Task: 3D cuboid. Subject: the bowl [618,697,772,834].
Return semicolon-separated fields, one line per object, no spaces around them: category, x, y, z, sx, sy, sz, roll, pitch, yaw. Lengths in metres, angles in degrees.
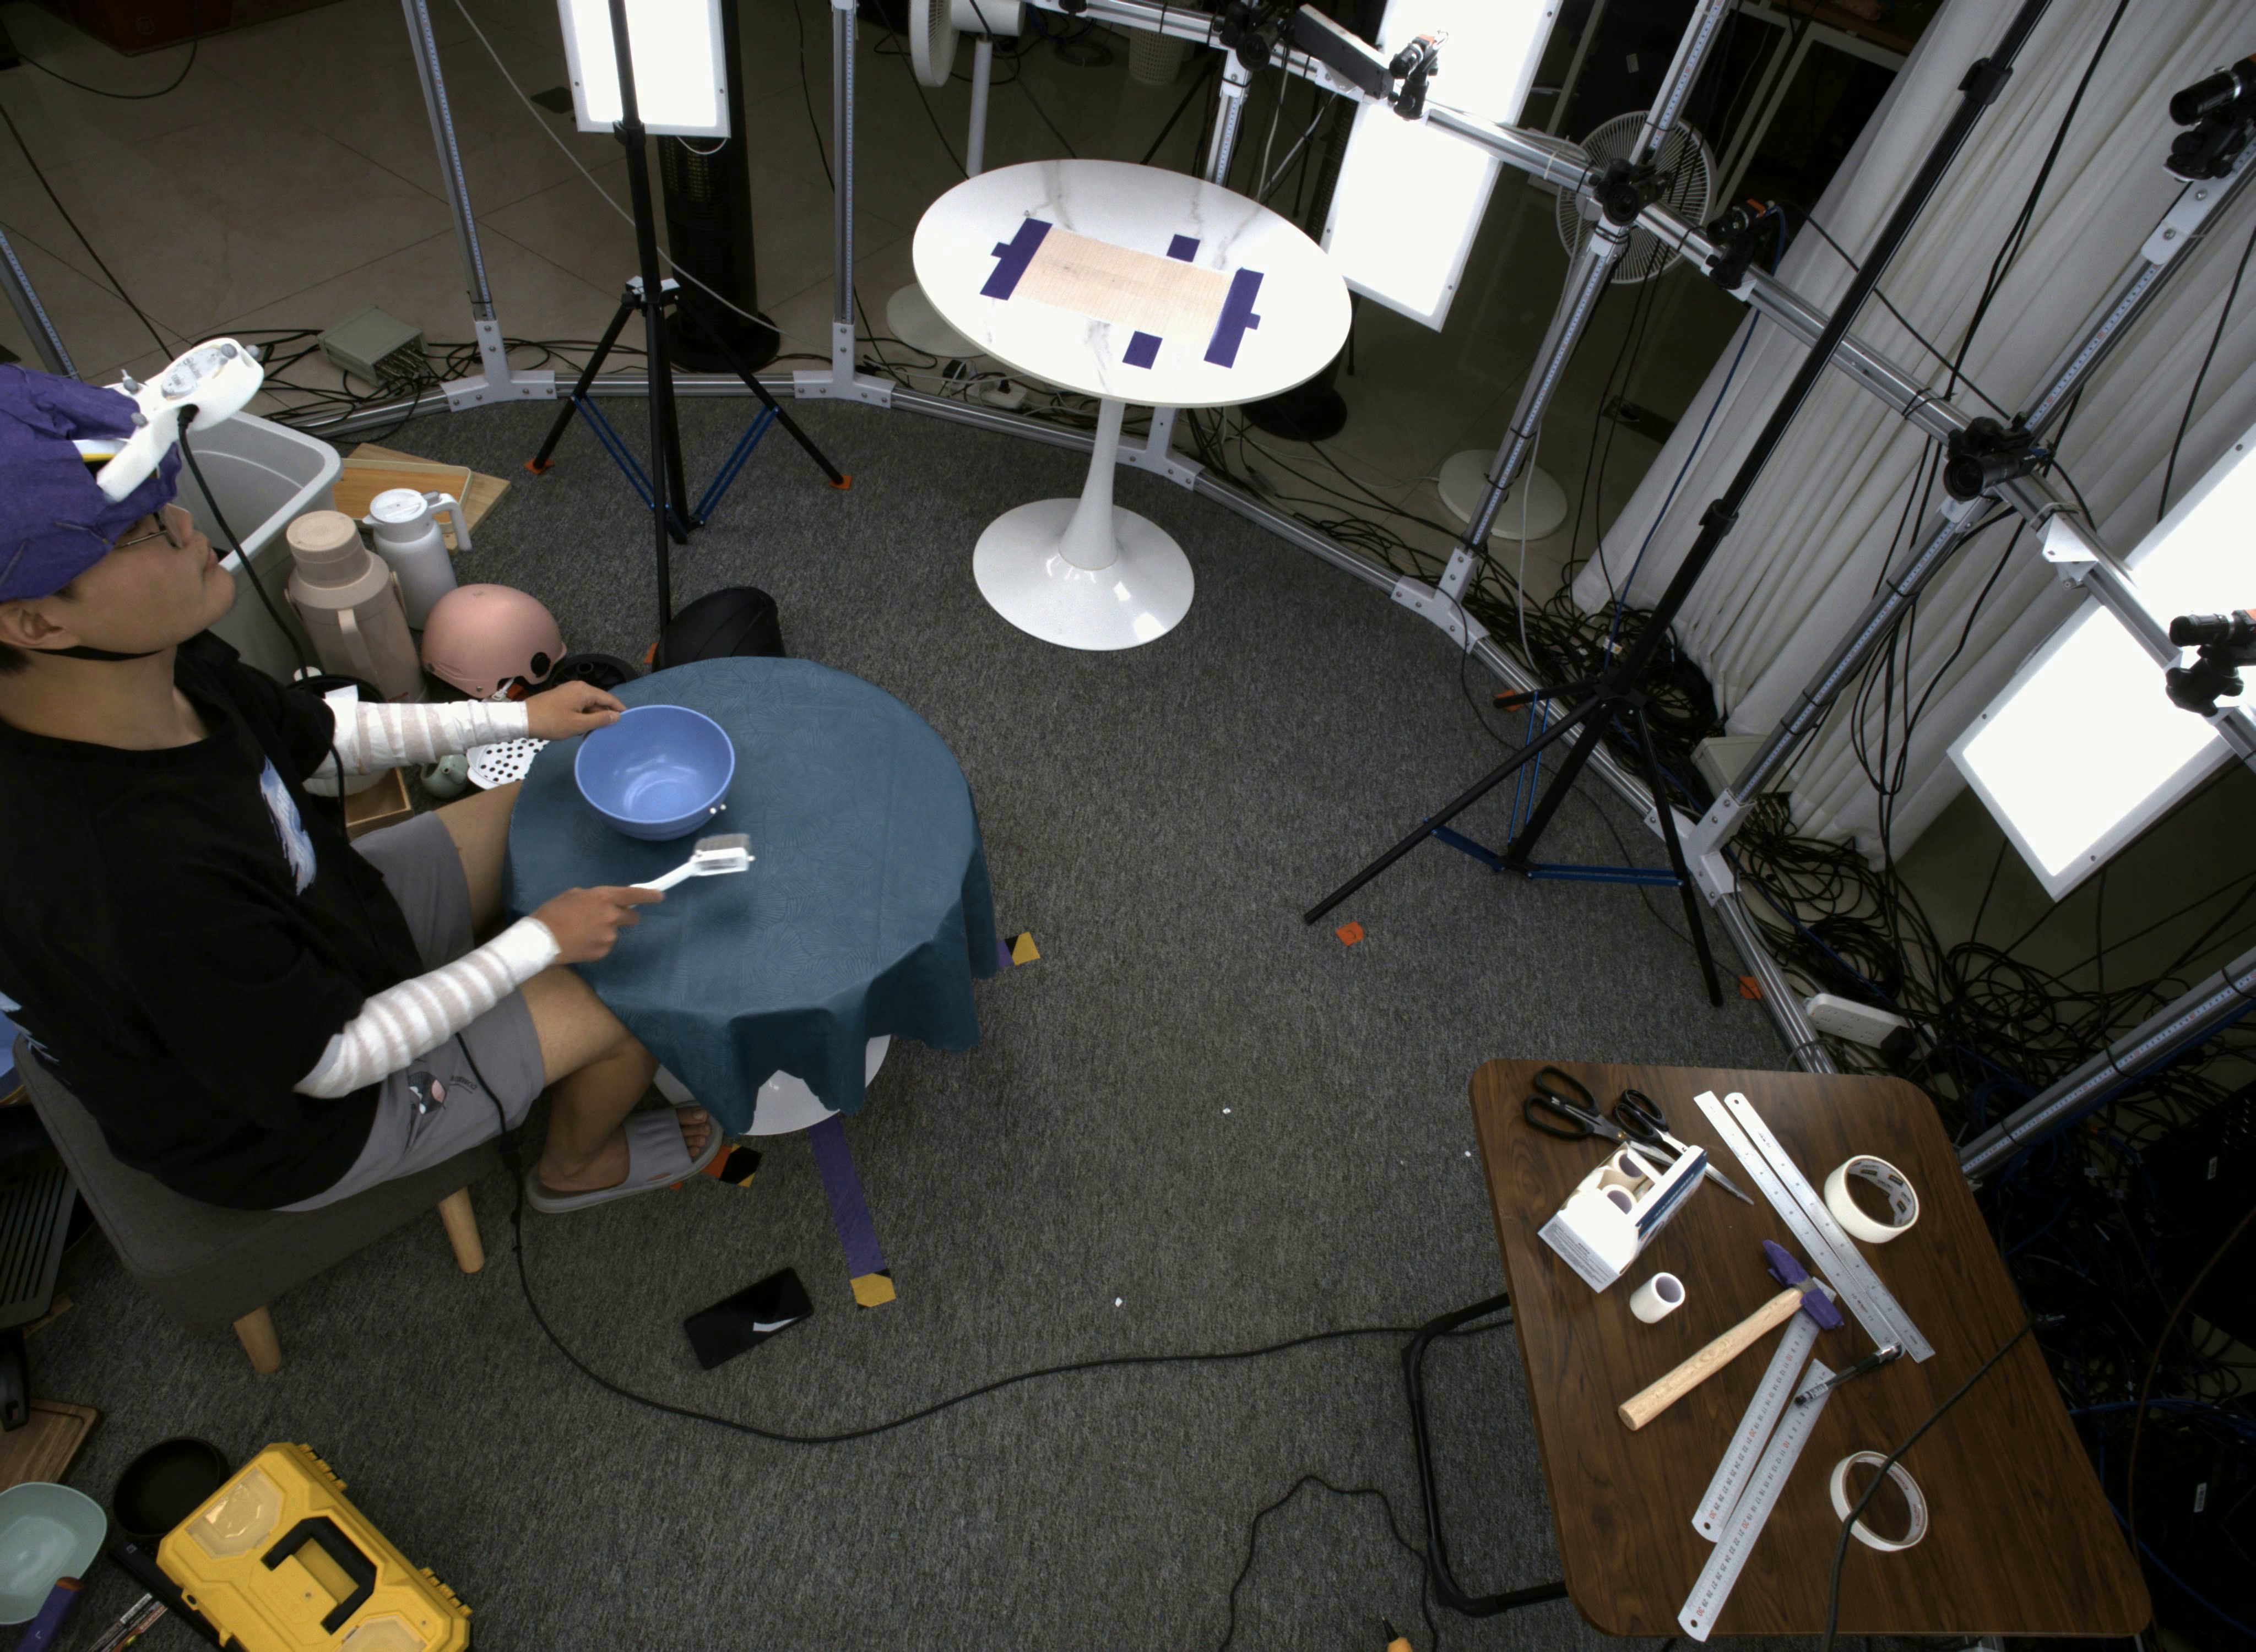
bowl;-0.563;-0.064;1.685;0.196;0.097;0.193;8;53;-9

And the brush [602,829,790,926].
brush;-0.530;0.058;1.577;0.244;0.035;0.048;-20;50;-17
